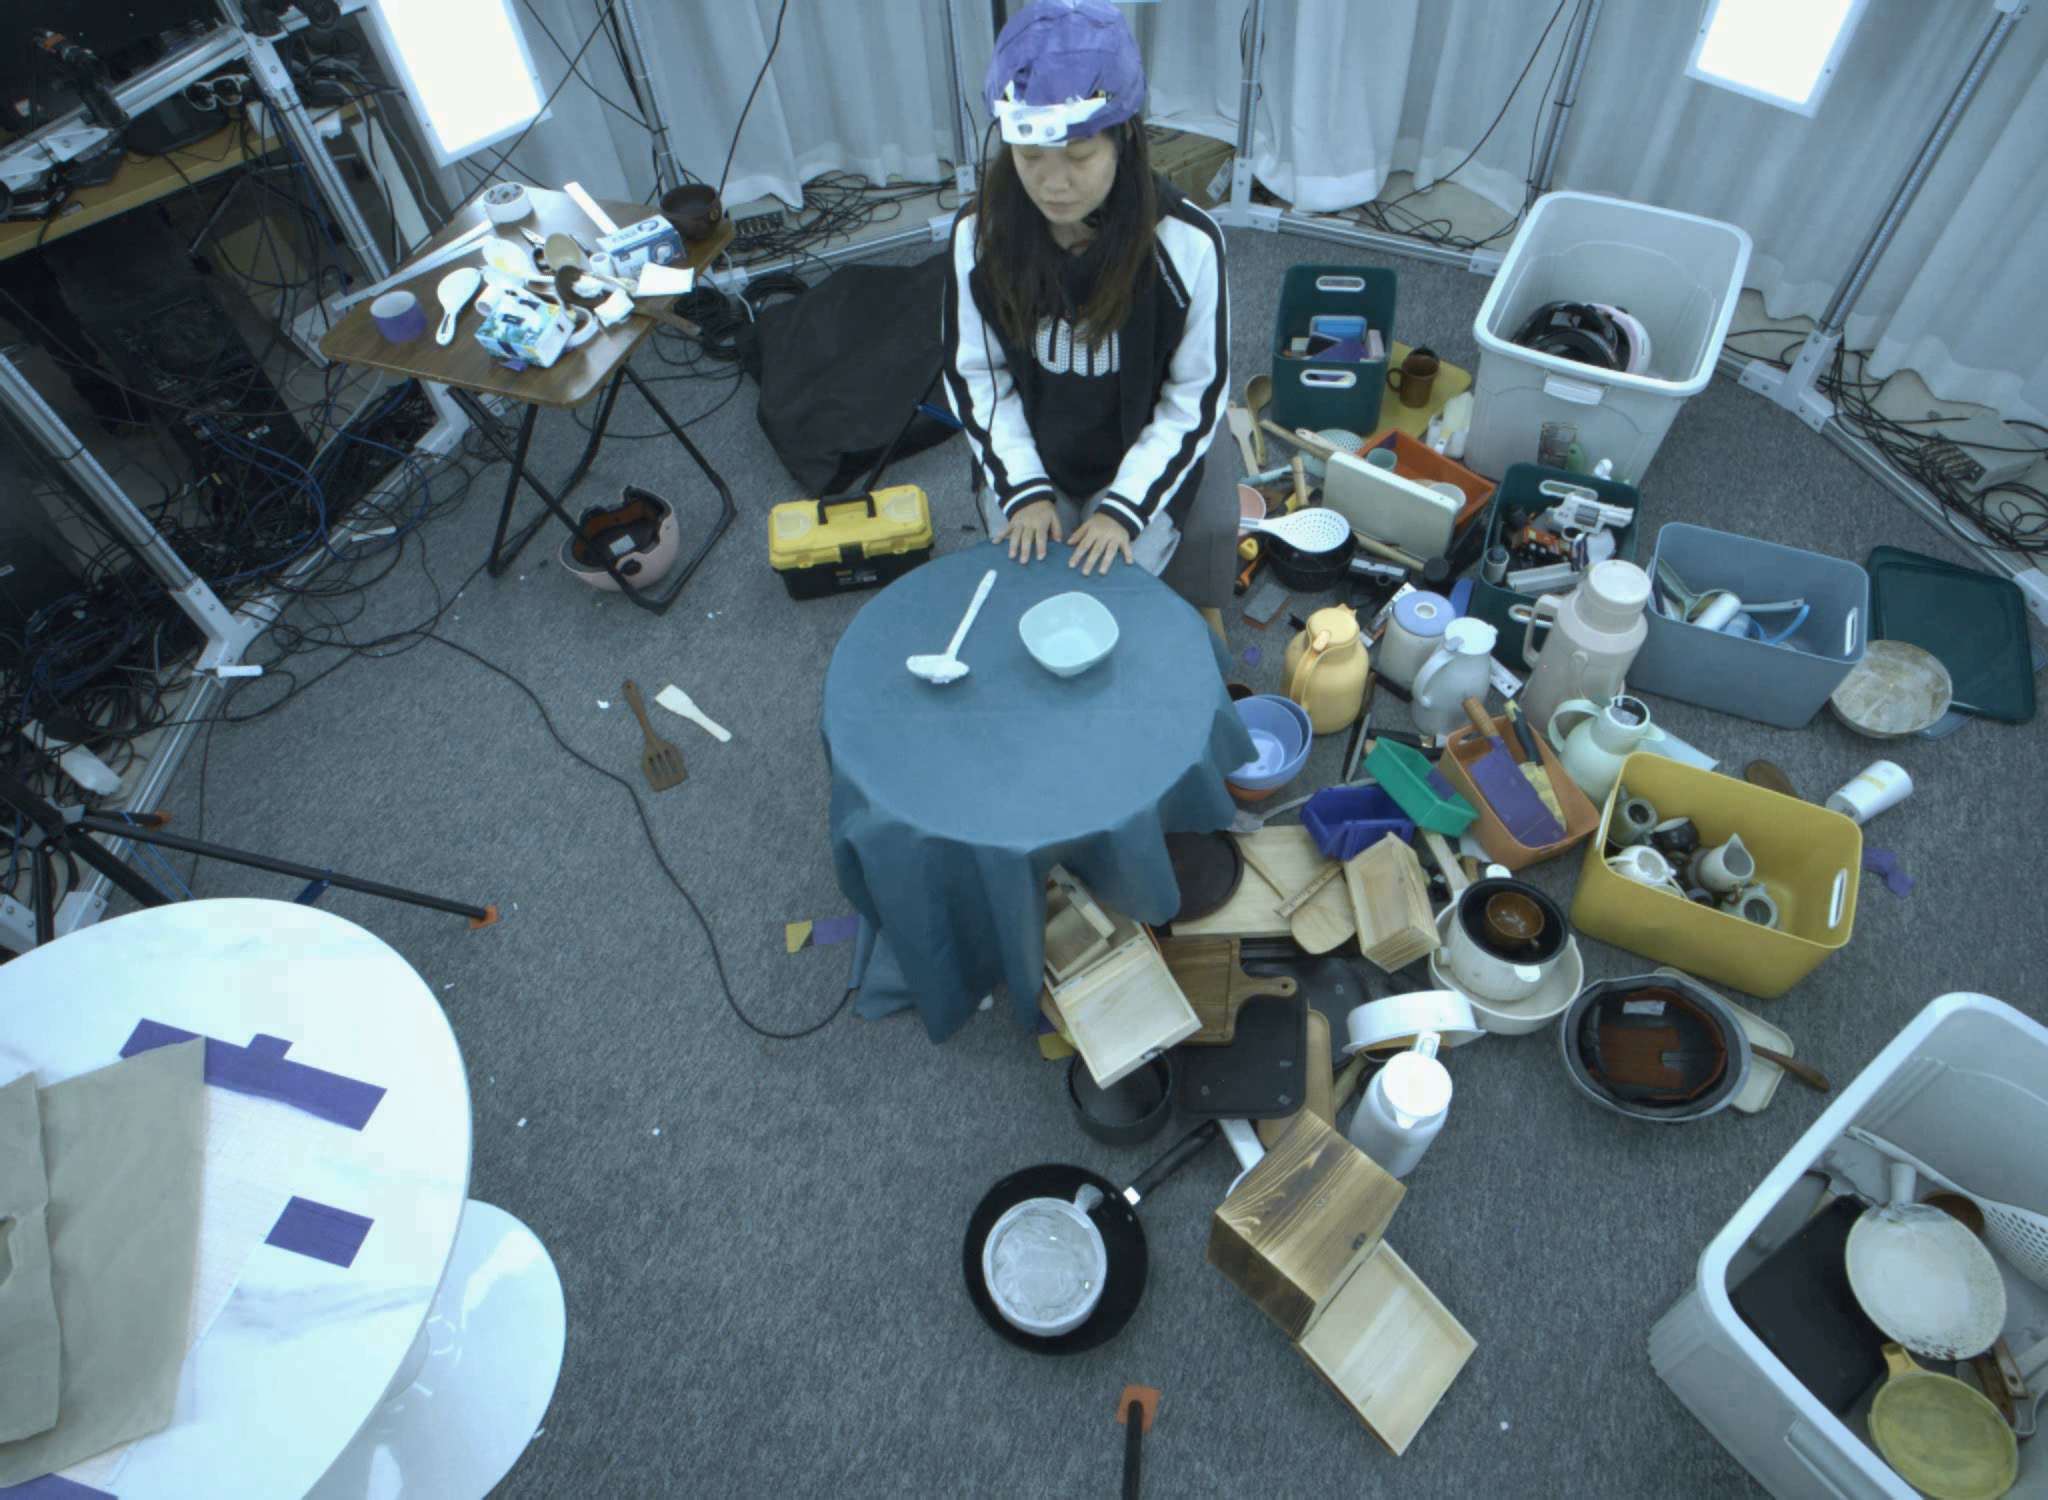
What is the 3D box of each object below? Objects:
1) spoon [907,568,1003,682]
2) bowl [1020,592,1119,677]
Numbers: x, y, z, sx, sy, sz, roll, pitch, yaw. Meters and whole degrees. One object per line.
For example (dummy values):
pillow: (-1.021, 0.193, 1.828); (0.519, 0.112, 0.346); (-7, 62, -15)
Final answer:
spoon: (-0.089, -0.201, 1.898); (0.100, 0.060, 0.277); (20, 58, 10)
bowl: (0.069, -0.166, 1.870); (0.151, 0.059, 0.150); (0, 55, 2)
